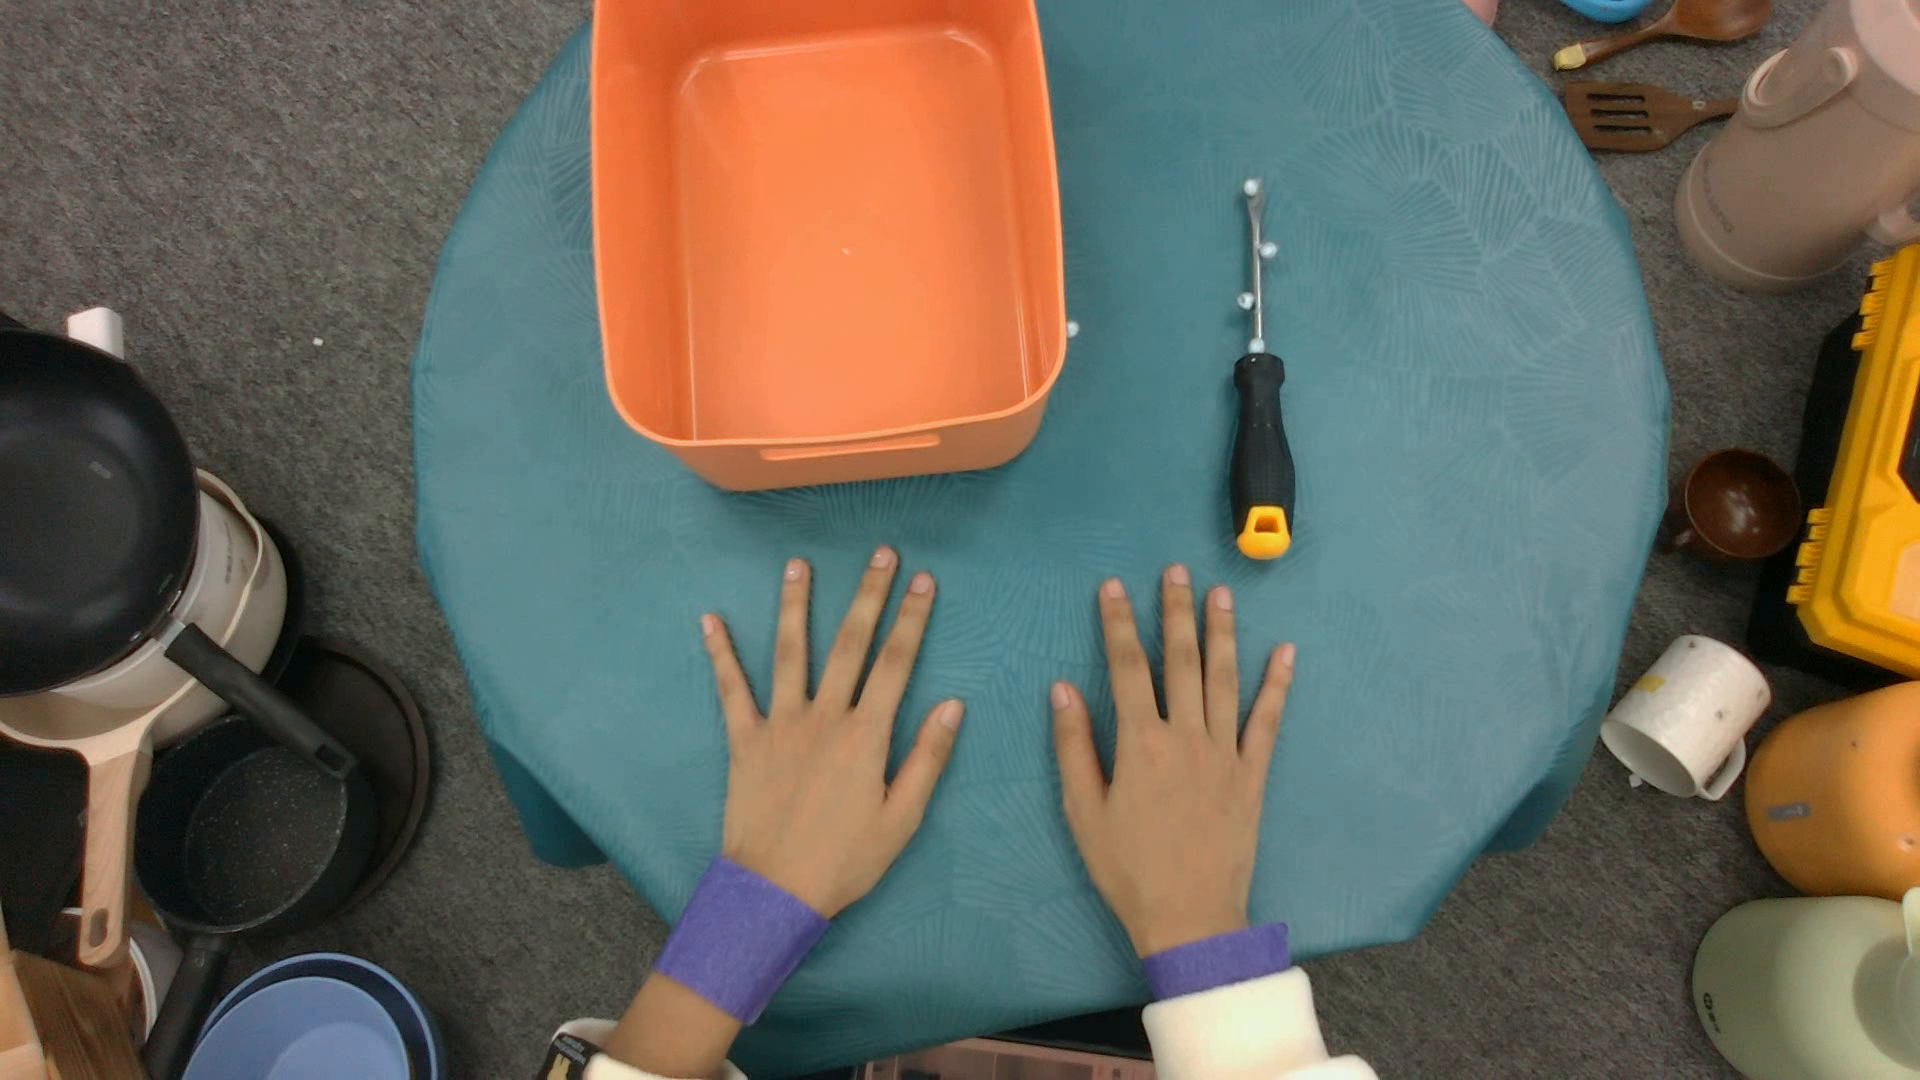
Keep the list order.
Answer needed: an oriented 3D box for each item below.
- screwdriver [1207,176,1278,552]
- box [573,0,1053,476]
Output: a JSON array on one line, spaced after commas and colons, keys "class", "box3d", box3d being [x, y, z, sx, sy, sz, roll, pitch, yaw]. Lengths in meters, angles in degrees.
[{"class": "screwdriver", "box3d": [0.125, -0.086, 0.639, 0.031, 0.031, 0.198, -2, 65, 1]}, {"class": "box", "box3d": [-0.066, -0.164, 0.636, 0.199, 0.102, 0.274, -6, 73, -1]}]
